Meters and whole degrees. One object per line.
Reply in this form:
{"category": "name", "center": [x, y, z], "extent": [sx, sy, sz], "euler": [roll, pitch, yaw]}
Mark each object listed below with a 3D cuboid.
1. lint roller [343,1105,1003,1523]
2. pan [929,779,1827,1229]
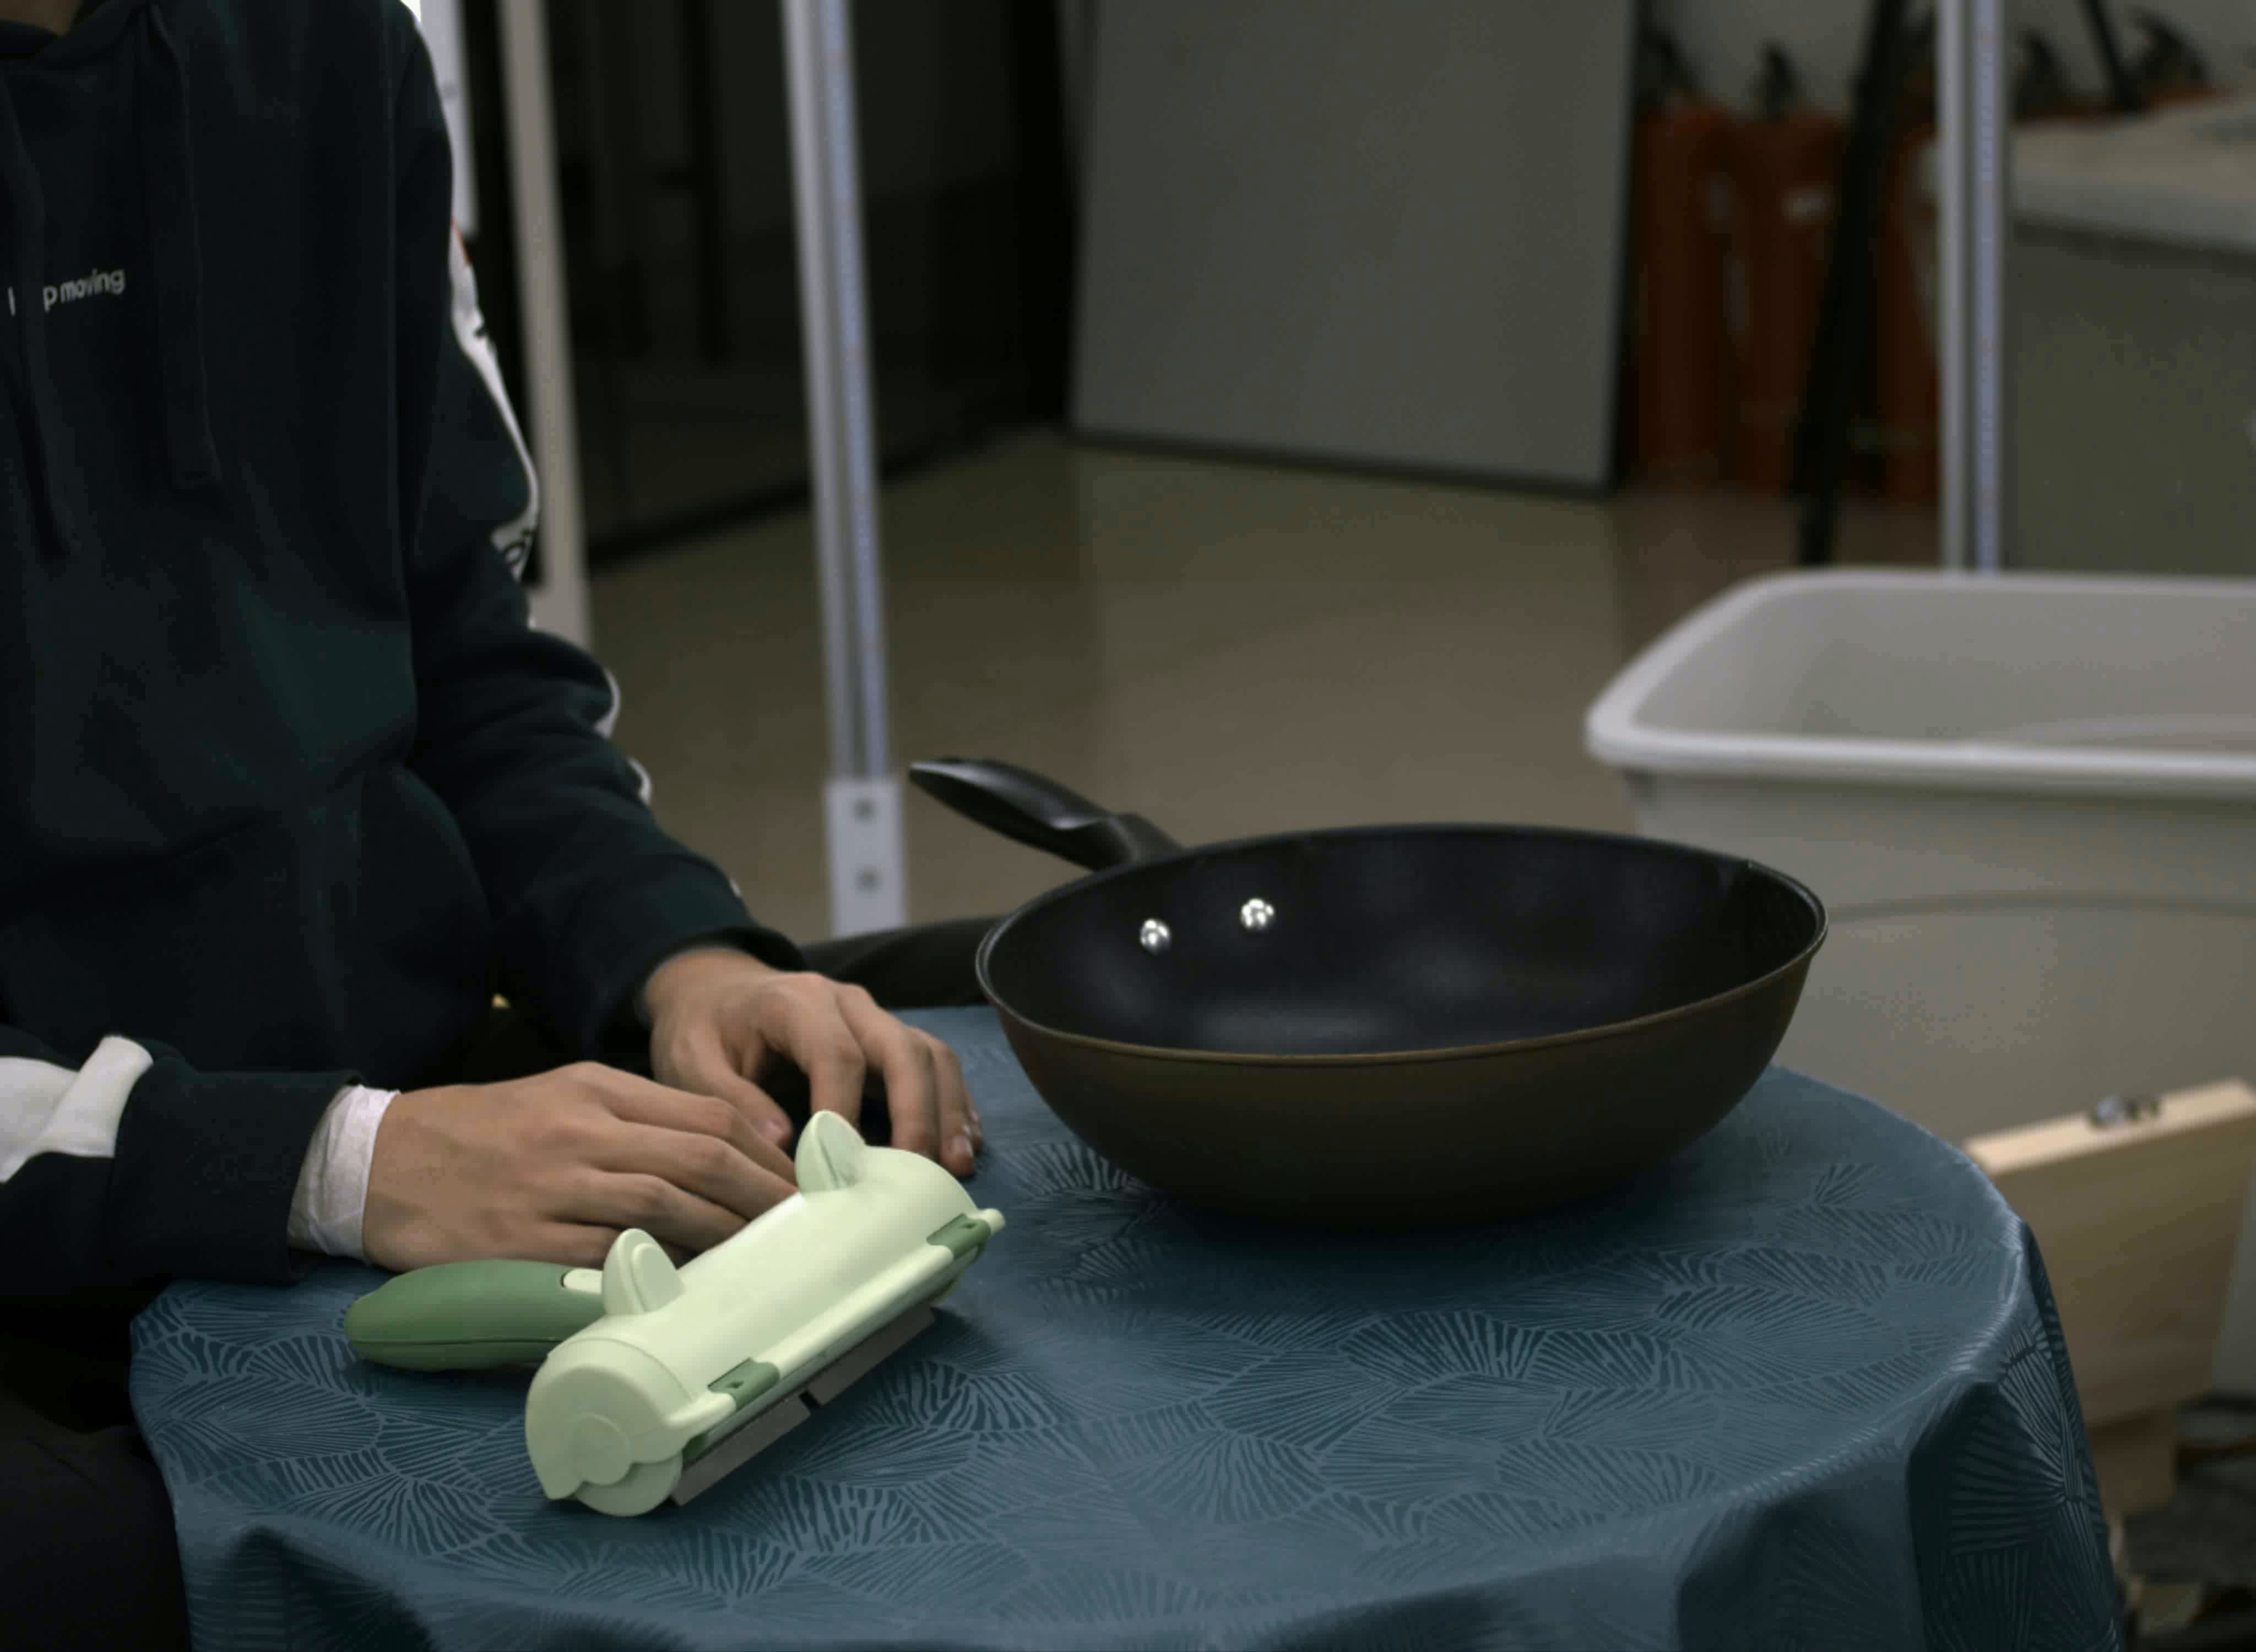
{"category": "lint roller", "center": [-0.157, 0.133, 1.612], "extent": [0.183, 0.083, 0.196], "euler": [9, 18, 25]}
{"category": "pan", "center": [0.044, 0.056, 1.846], "extent": [0.282, 0.088, 0.468], "euler": [-11, 14, -28]}
